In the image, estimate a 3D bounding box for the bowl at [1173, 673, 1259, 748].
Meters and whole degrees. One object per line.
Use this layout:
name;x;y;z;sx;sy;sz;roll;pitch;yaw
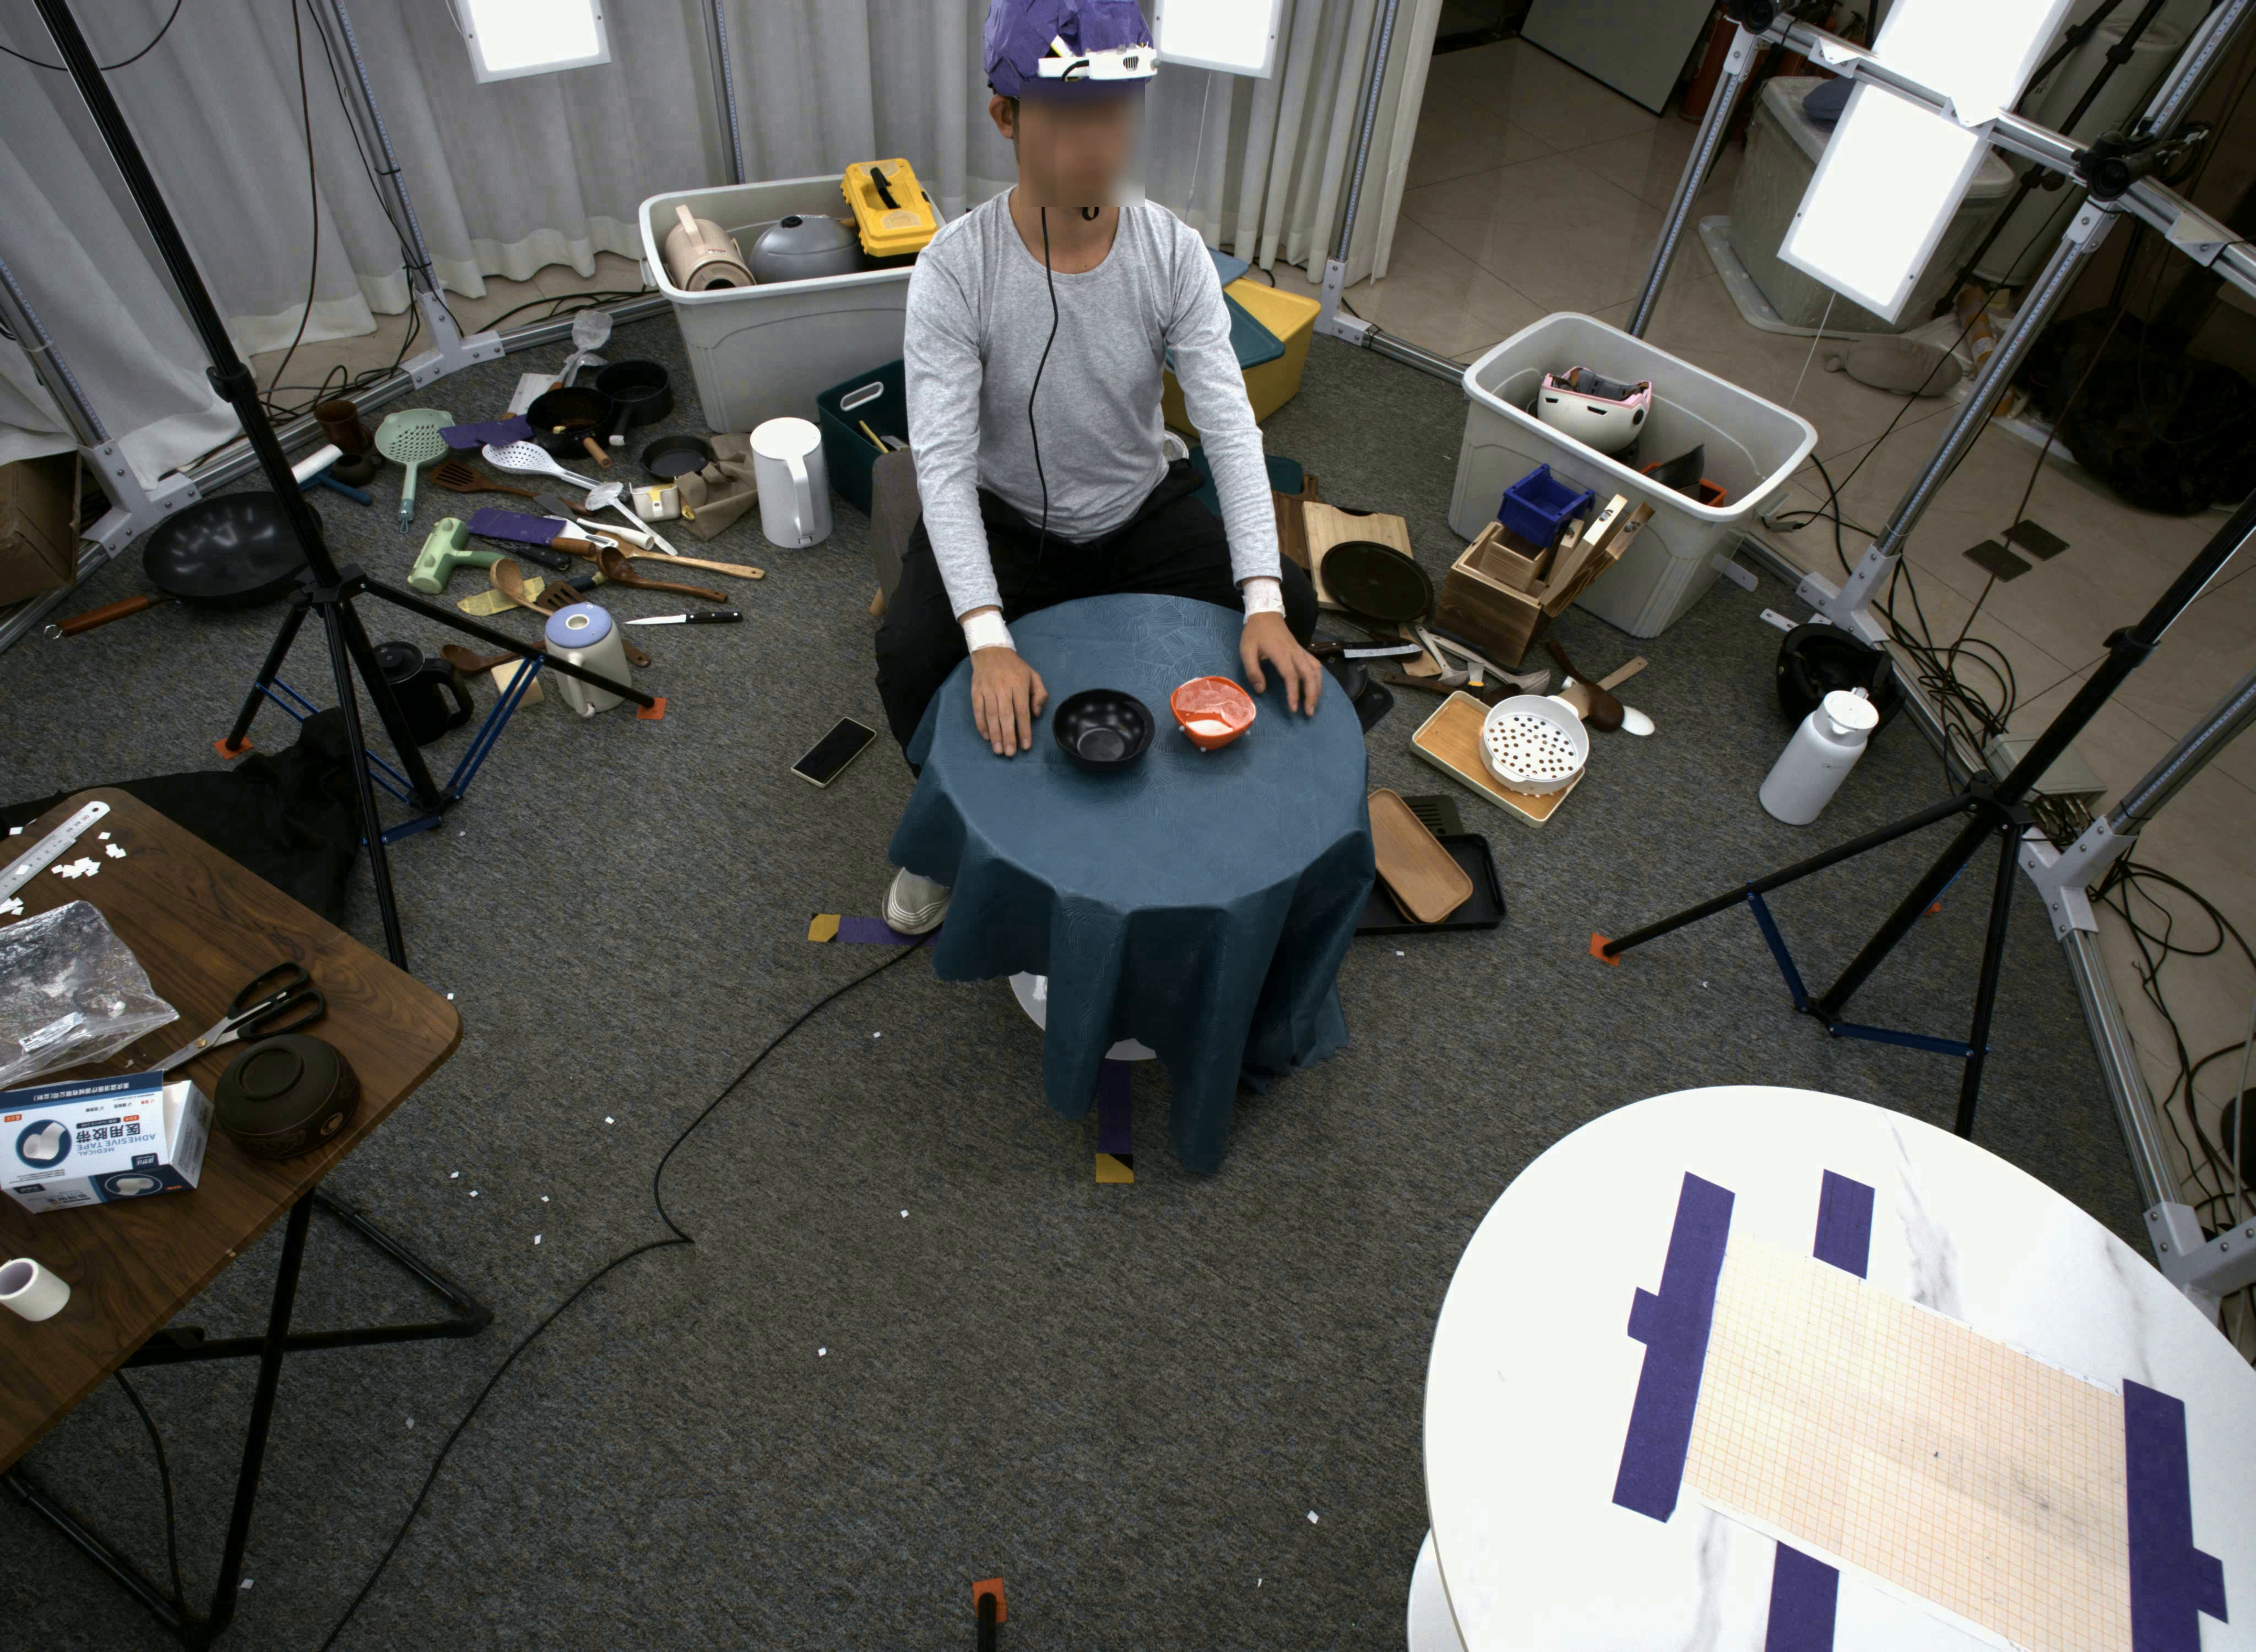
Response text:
bowl;0.118;-0.152;1.770;0.119;0.050;0.122;2;54;-3

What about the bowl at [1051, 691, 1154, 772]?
bowl;-0.035;-0.120;1.740;0.140;0.048;0.143;2;46;-2
